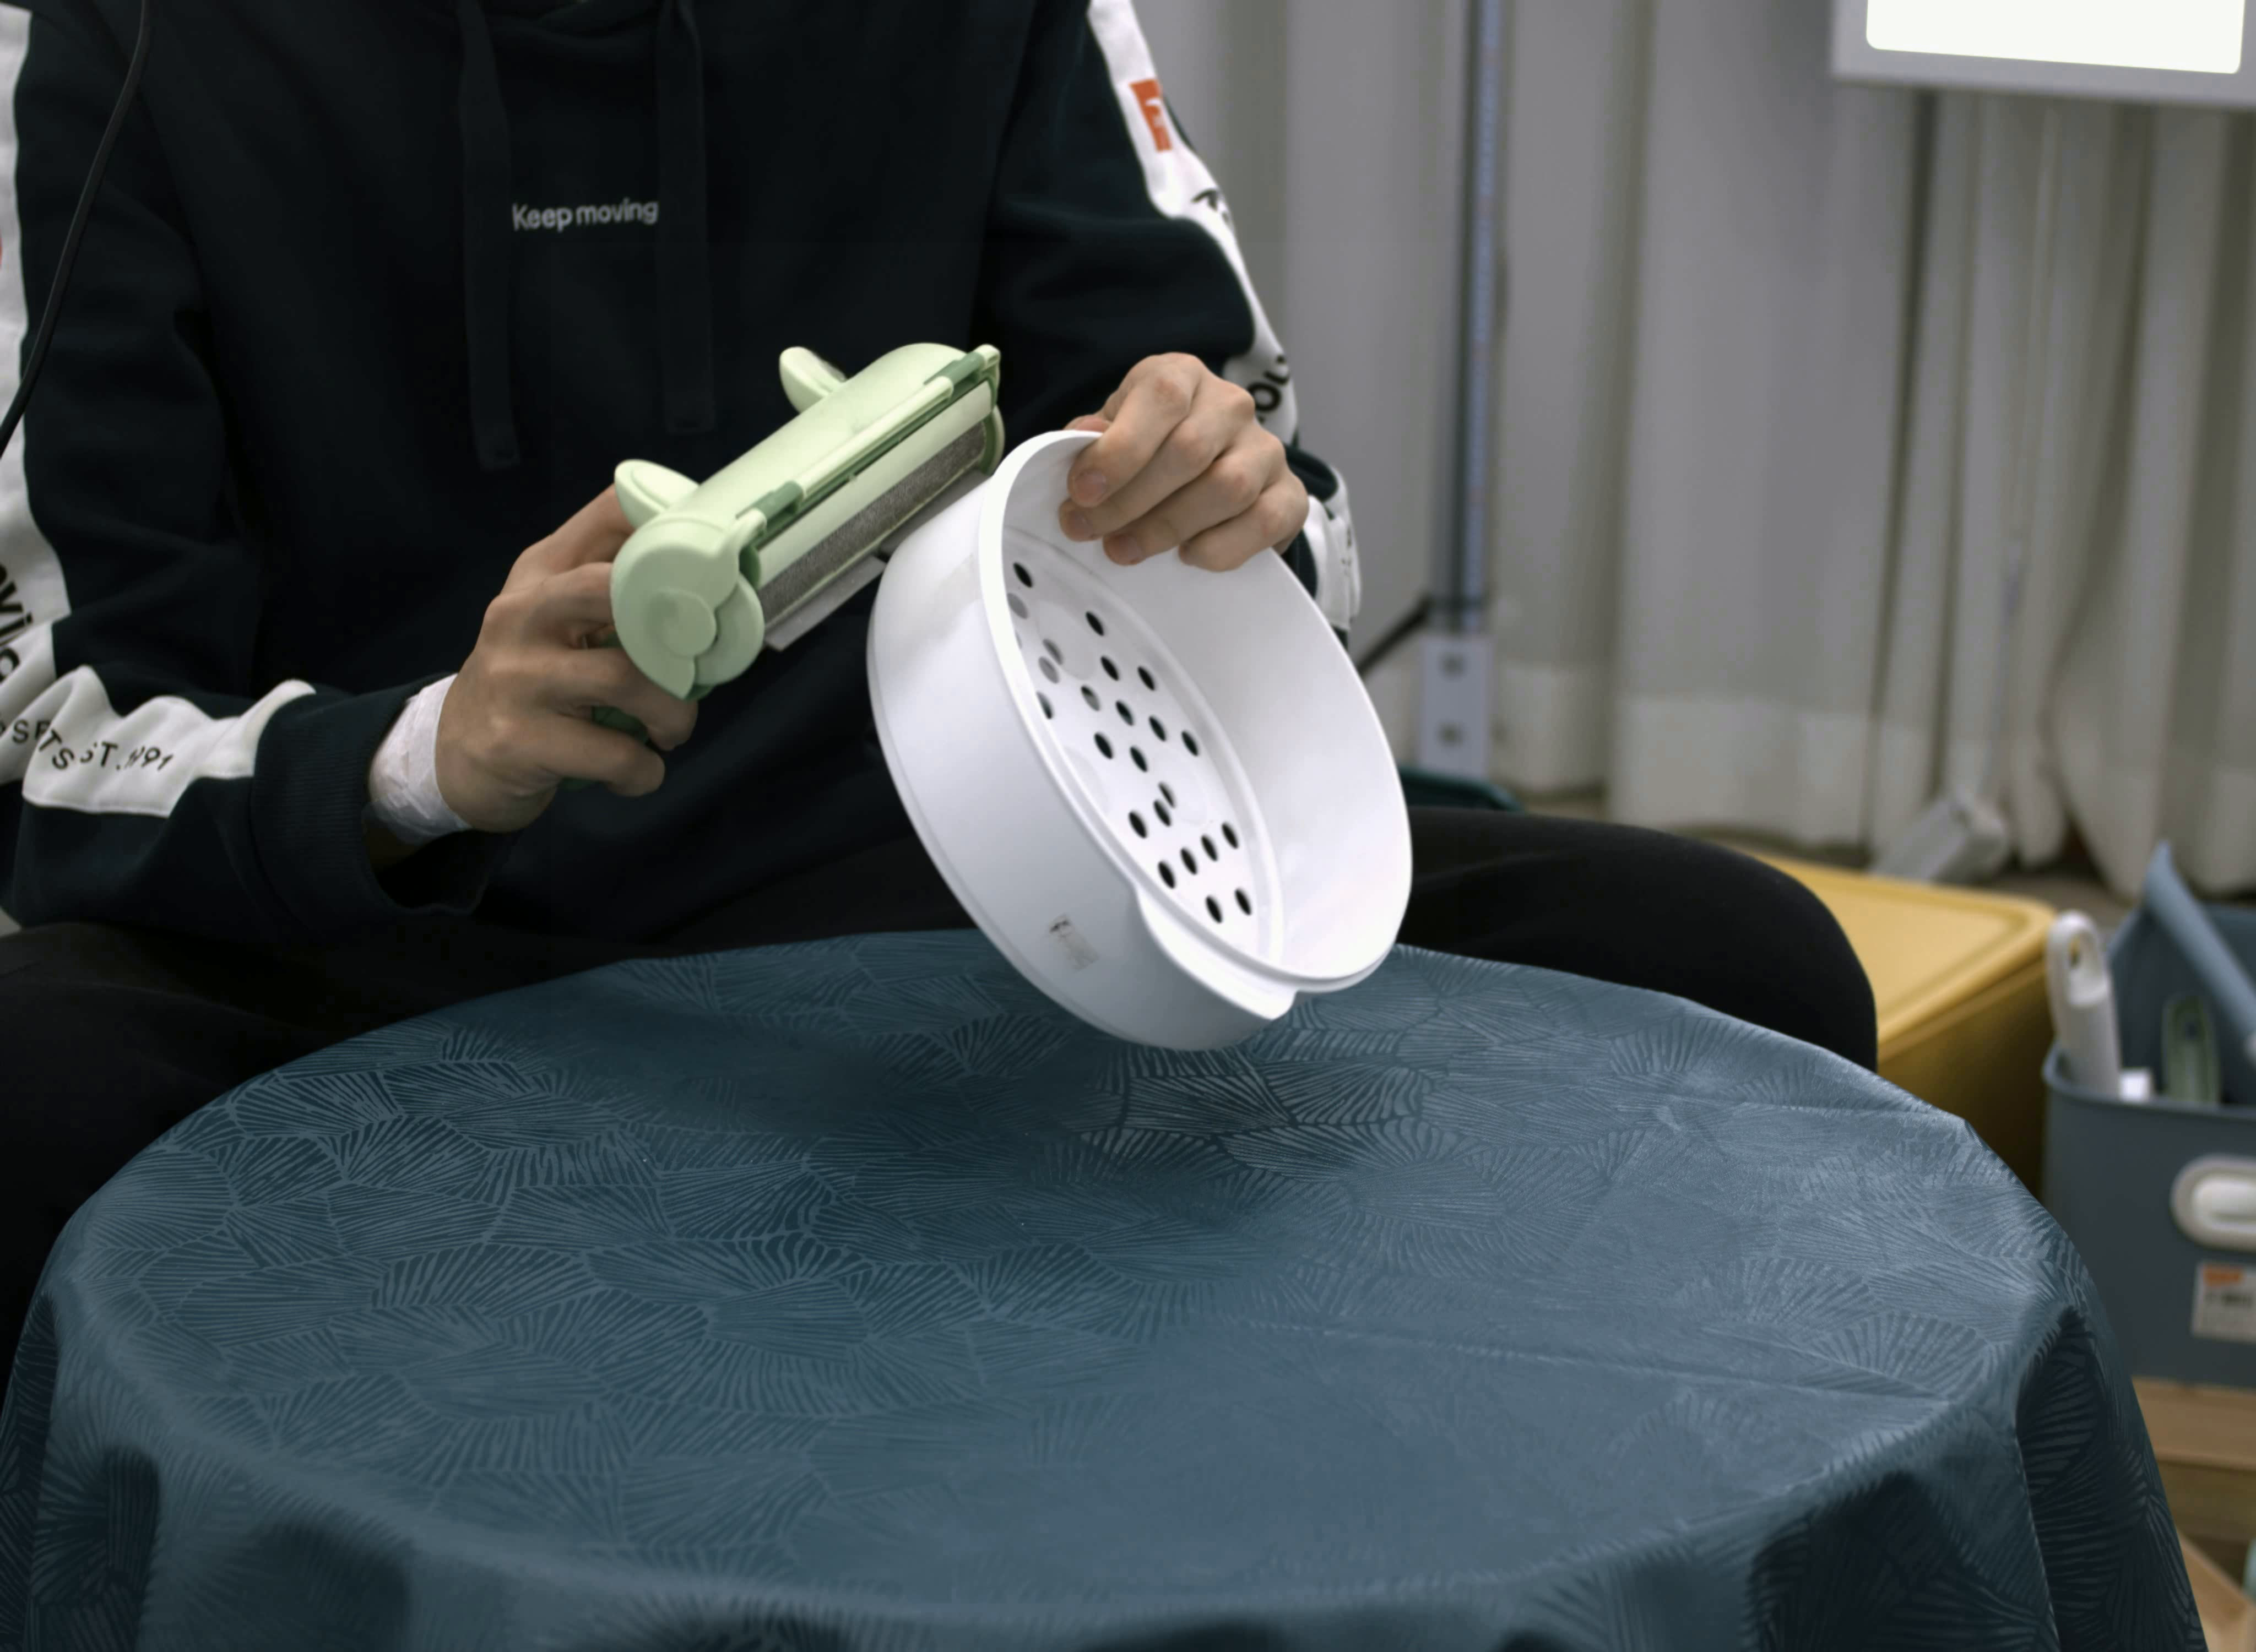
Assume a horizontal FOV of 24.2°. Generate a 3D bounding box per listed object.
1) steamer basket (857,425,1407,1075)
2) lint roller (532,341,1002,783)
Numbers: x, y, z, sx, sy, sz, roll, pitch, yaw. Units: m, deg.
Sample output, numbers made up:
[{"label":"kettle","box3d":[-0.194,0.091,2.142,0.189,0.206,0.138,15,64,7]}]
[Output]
[{"label":"steamer basket","box3d":[0.002,-0.019,1.671,0.069,0.229,0.204,-28,-44,32]},{"label":"lint roller","box3d":[-0.144,-0.084,1.695,0.182,0.082,0.198,-29,8,32]}]
